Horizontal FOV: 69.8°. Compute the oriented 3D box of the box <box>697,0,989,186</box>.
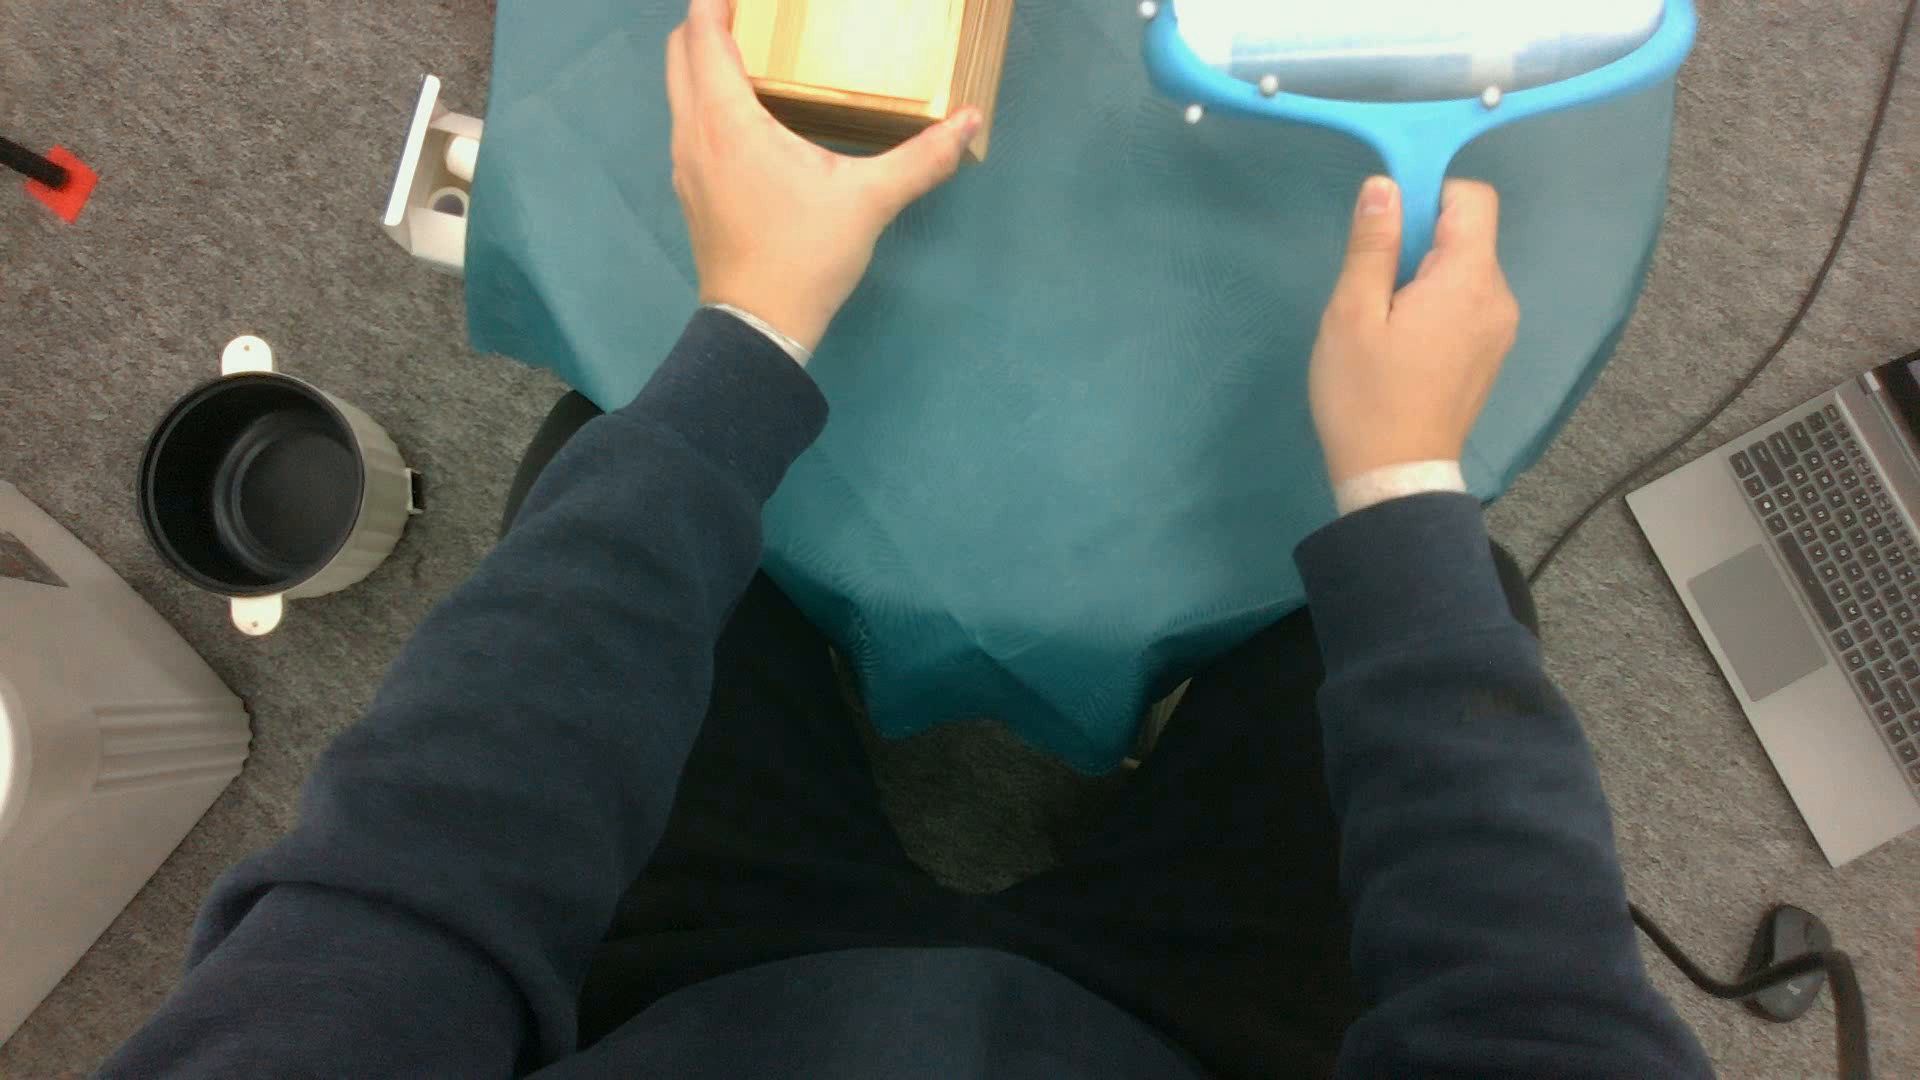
[{"bbox_3d":[-0.043,-0.278,0.624,0.107,0.080,0.211,8,93,12],"label":"box"}]

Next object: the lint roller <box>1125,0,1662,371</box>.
[{"bbox_3d":[0.188,-0.169,0.607,0.228,0.068,0.180,-2,82,12],"label":"lint roller"}]
